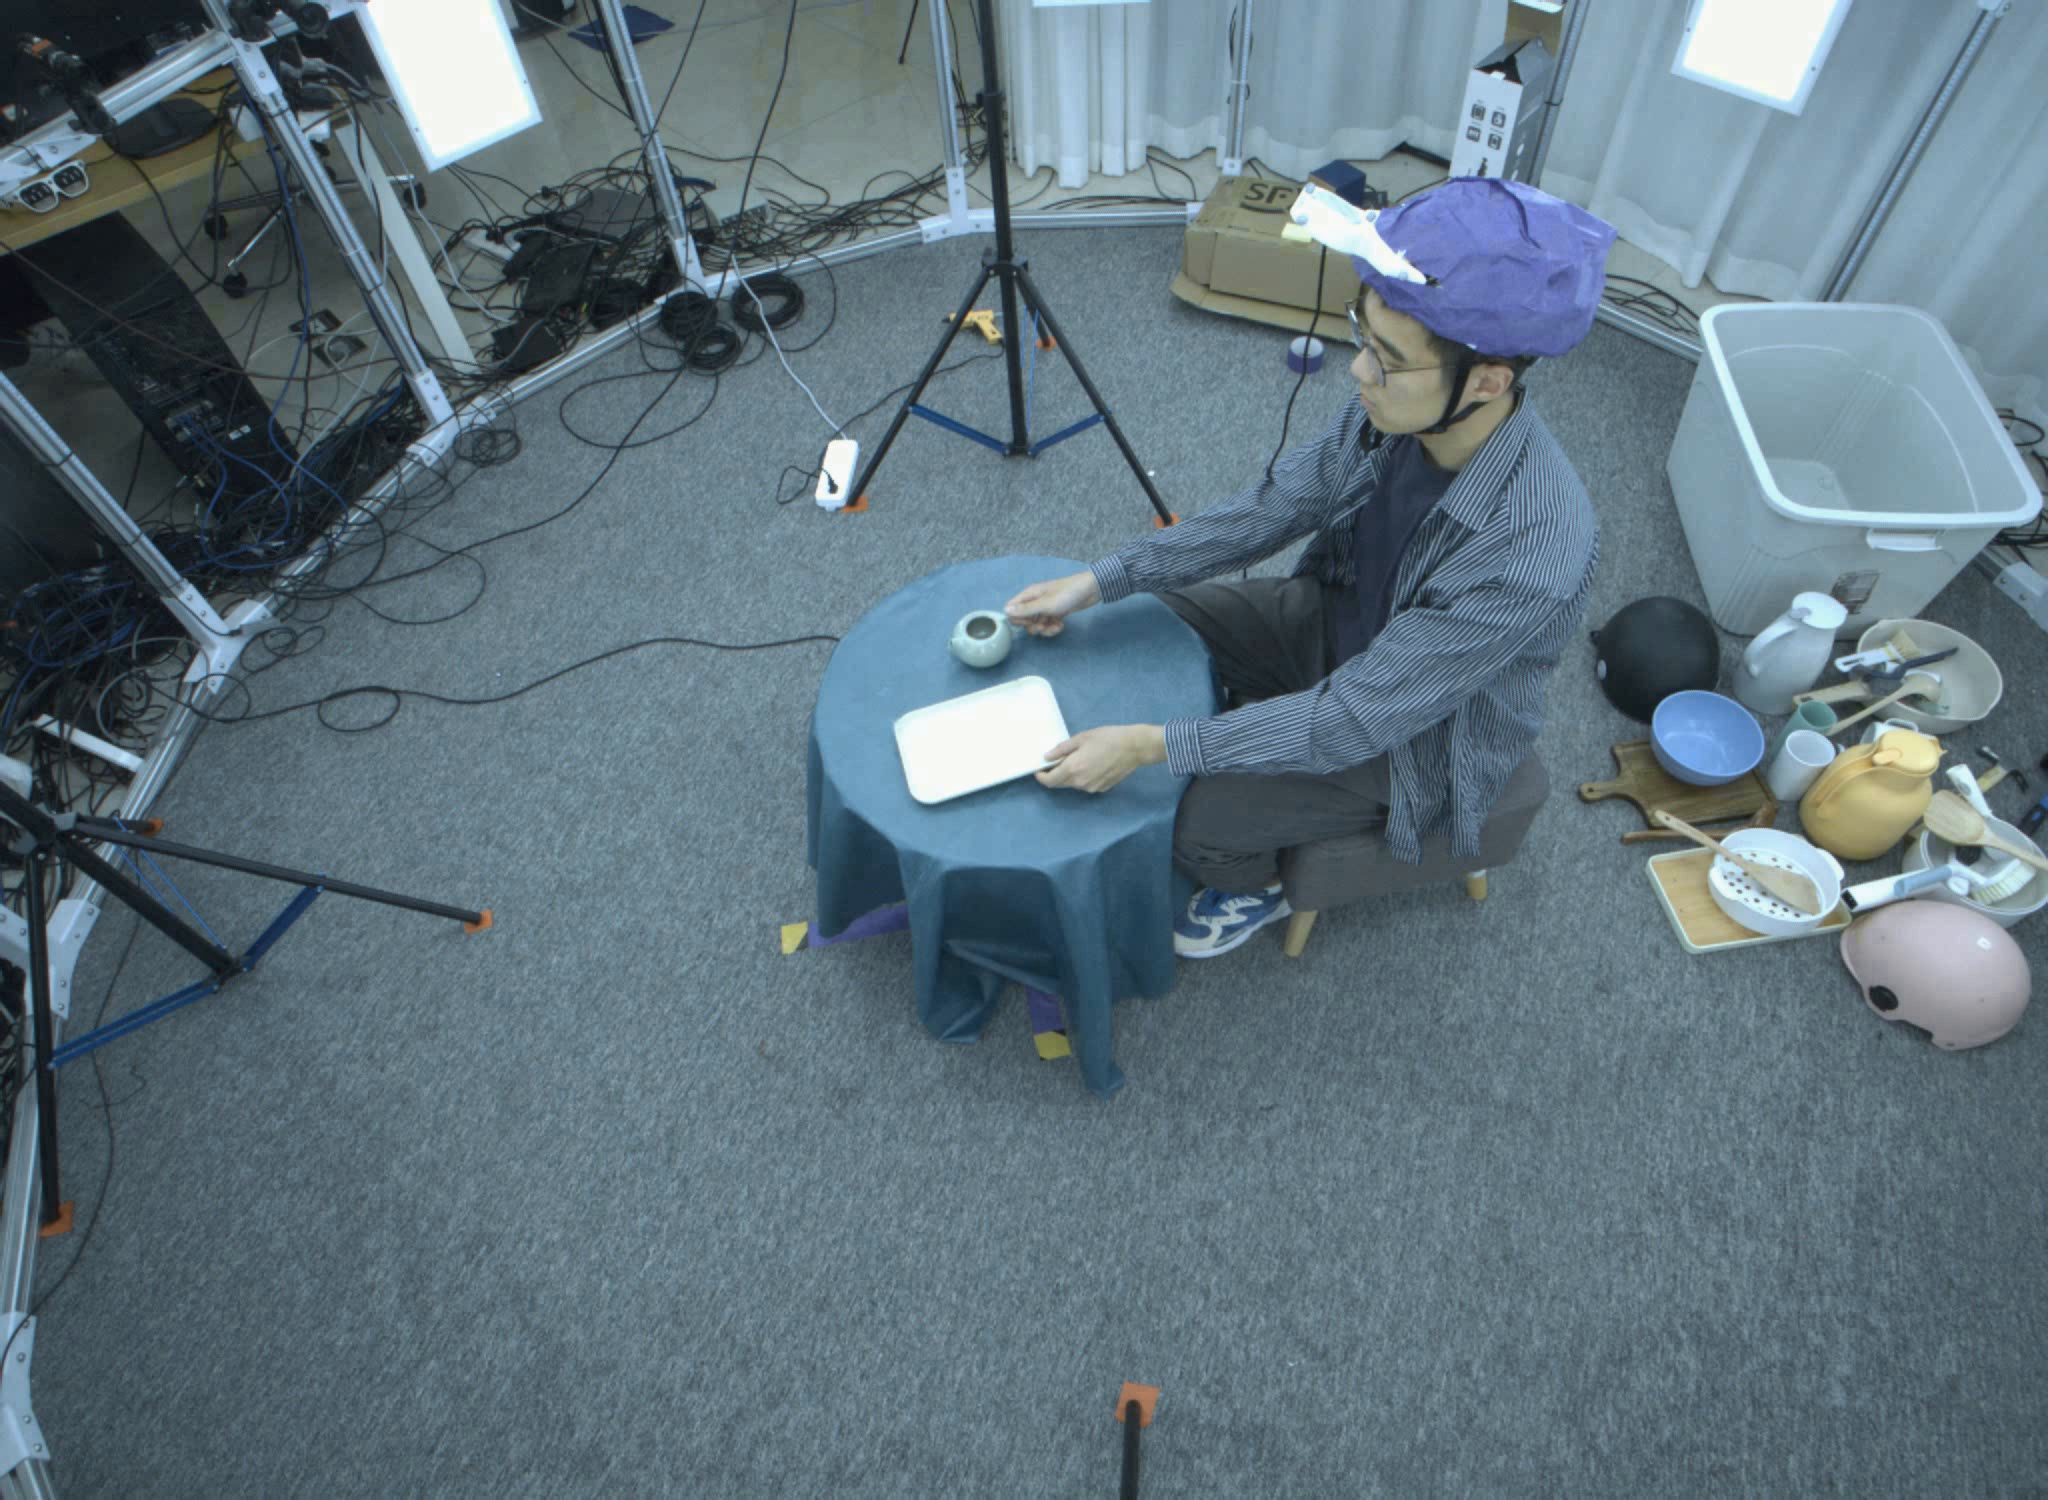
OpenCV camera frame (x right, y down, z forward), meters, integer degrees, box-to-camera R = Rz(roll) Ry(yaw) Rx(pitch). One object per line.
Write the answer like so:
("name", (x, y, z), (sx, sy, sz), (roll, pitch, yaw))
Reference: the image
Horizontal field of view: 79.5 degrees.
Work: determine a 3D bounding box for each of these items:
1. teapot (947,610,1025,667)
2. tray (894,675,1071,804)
("teapot", (-0.057, -0.174, 1.880), (0.129, 0.061, 0.090), (-24, 56, -13))
("tray", (-0.061, -0.016, 1.781), (0.240, 0.018, 0.168), (-17, 55, -4))
